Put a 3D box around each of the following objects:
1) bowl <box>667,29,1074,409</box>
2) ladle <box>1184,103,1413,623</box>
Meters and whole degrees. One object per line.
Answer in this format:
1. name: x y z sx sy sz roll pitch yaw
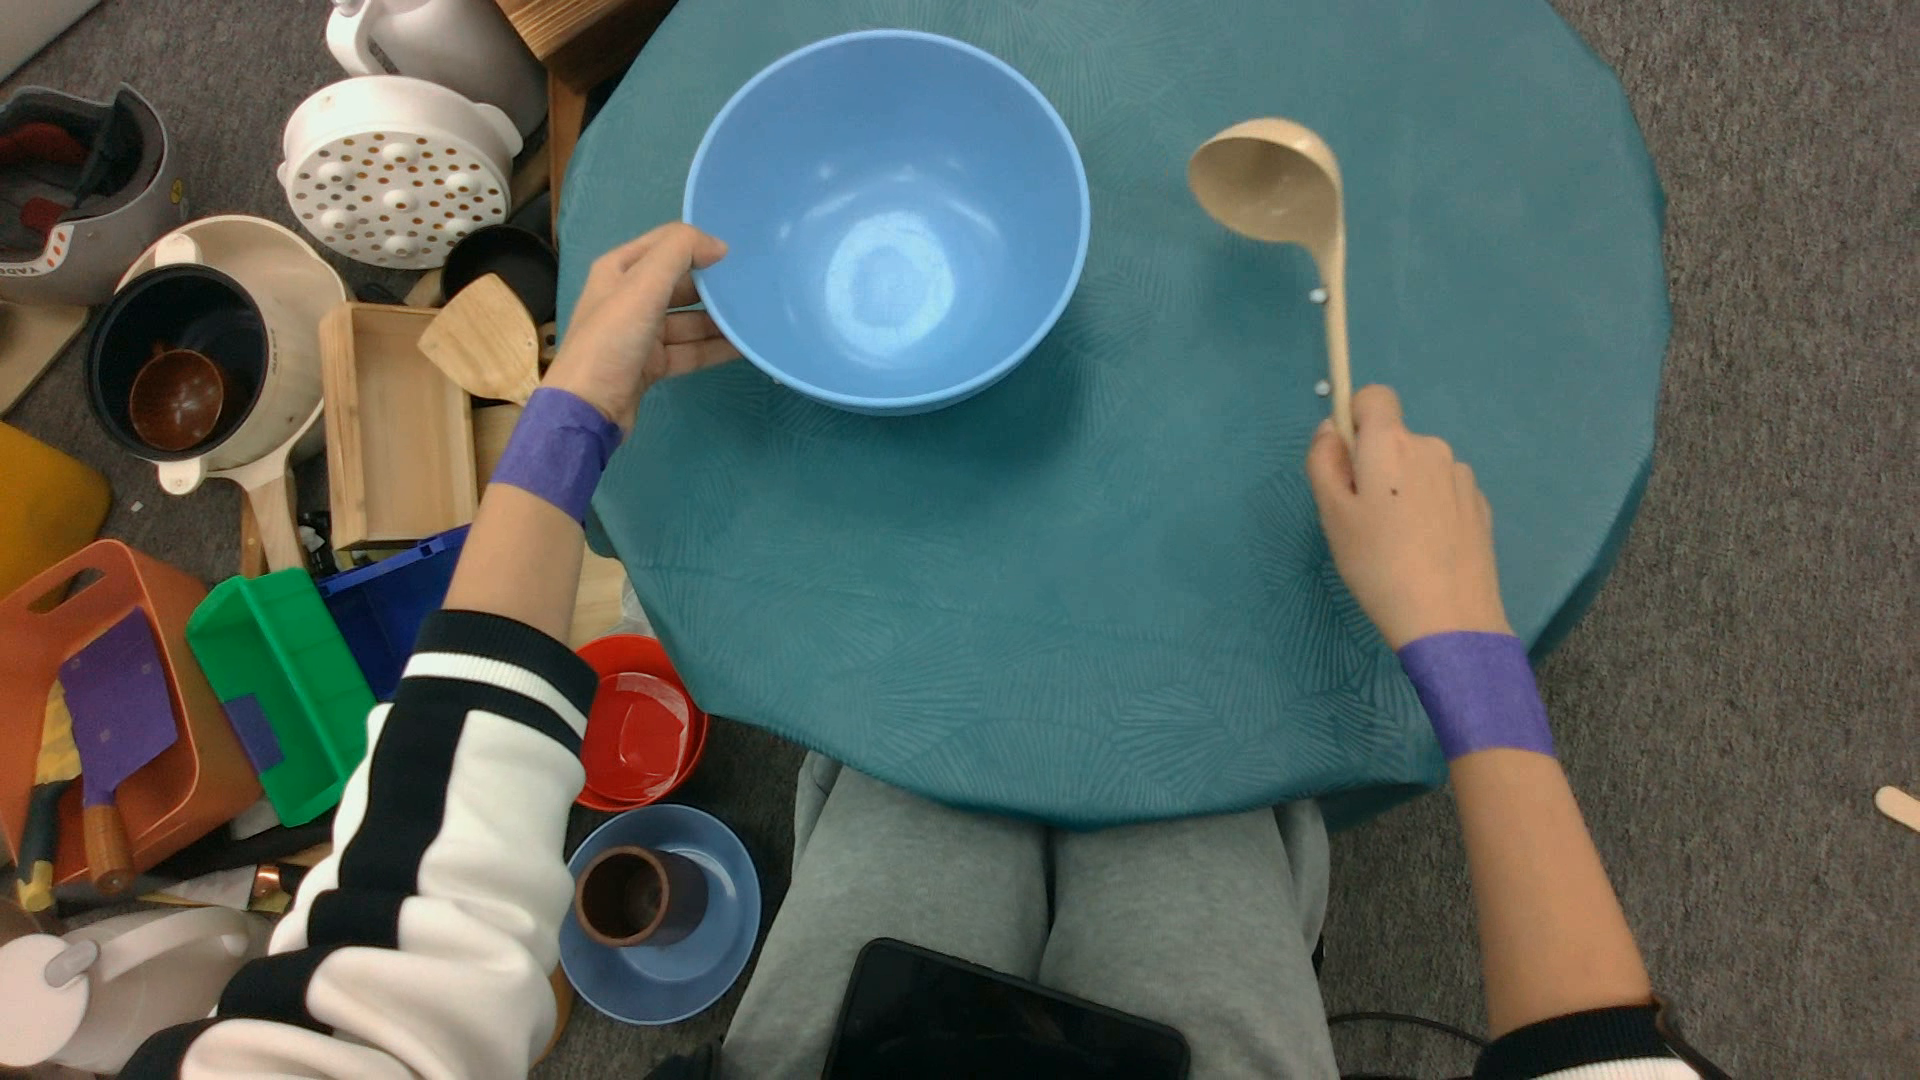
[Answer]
1. bowl: -0.044 -0.150 0.708 0.196 0.095 0.197 1 76 -2
2. ladle: 0.156 -0.085 0.643 0.073 0.072 0.255 2 71 -21
